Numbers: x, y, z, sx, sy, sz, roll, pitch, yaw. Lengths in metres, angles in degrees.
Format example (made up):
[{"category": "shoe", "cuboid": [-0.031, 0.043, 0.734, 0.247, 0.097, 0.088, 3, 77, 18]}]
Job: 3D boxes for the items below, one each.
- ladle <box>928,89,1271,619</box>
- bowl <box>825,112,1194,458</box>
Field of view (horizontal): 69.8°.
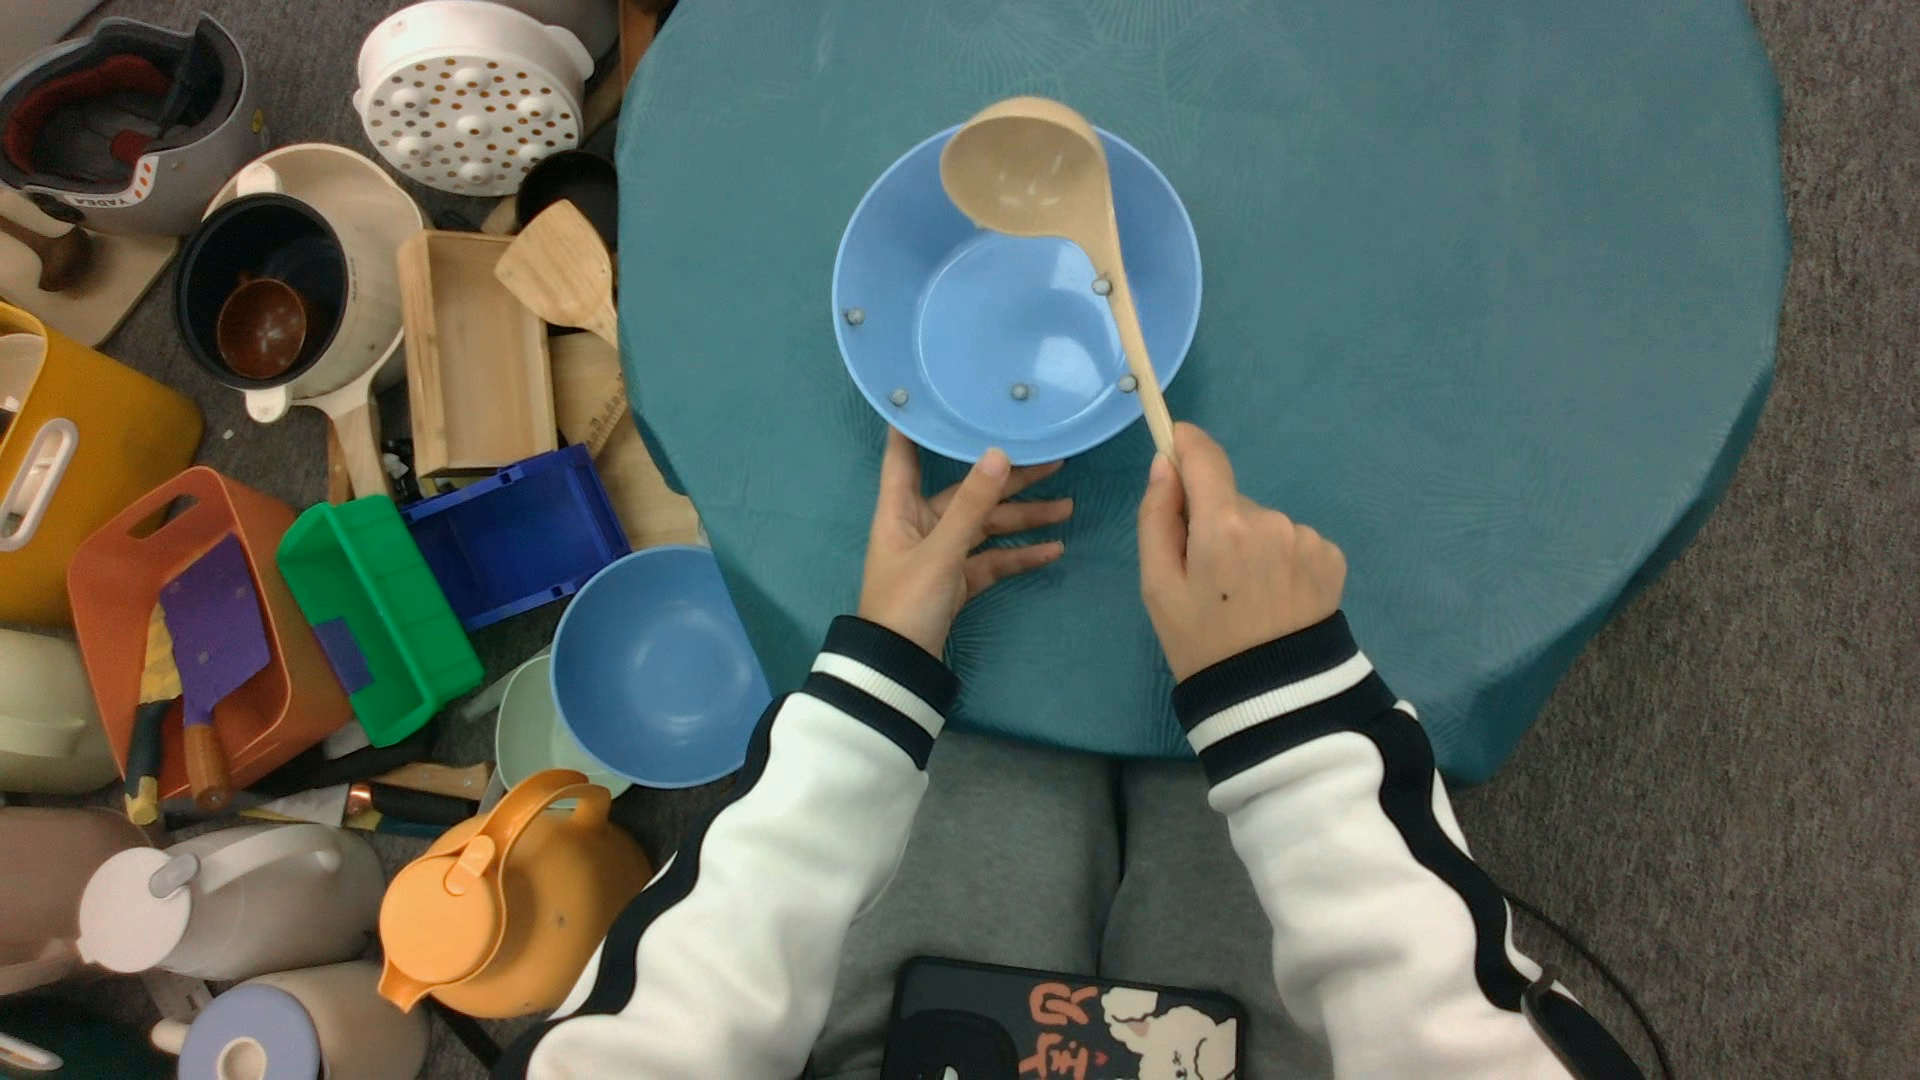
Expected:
[{"category": "ladle", "cuboid": [0.056, -0.079, 0.586, 0.073, 0.072, 0.255, -6, 67, -37]}, {"category": "bowl", "cuboid": [0.026, -0.117, 0.679, 0.176, 0.070, 0.176, -2, 77, 8]}]
